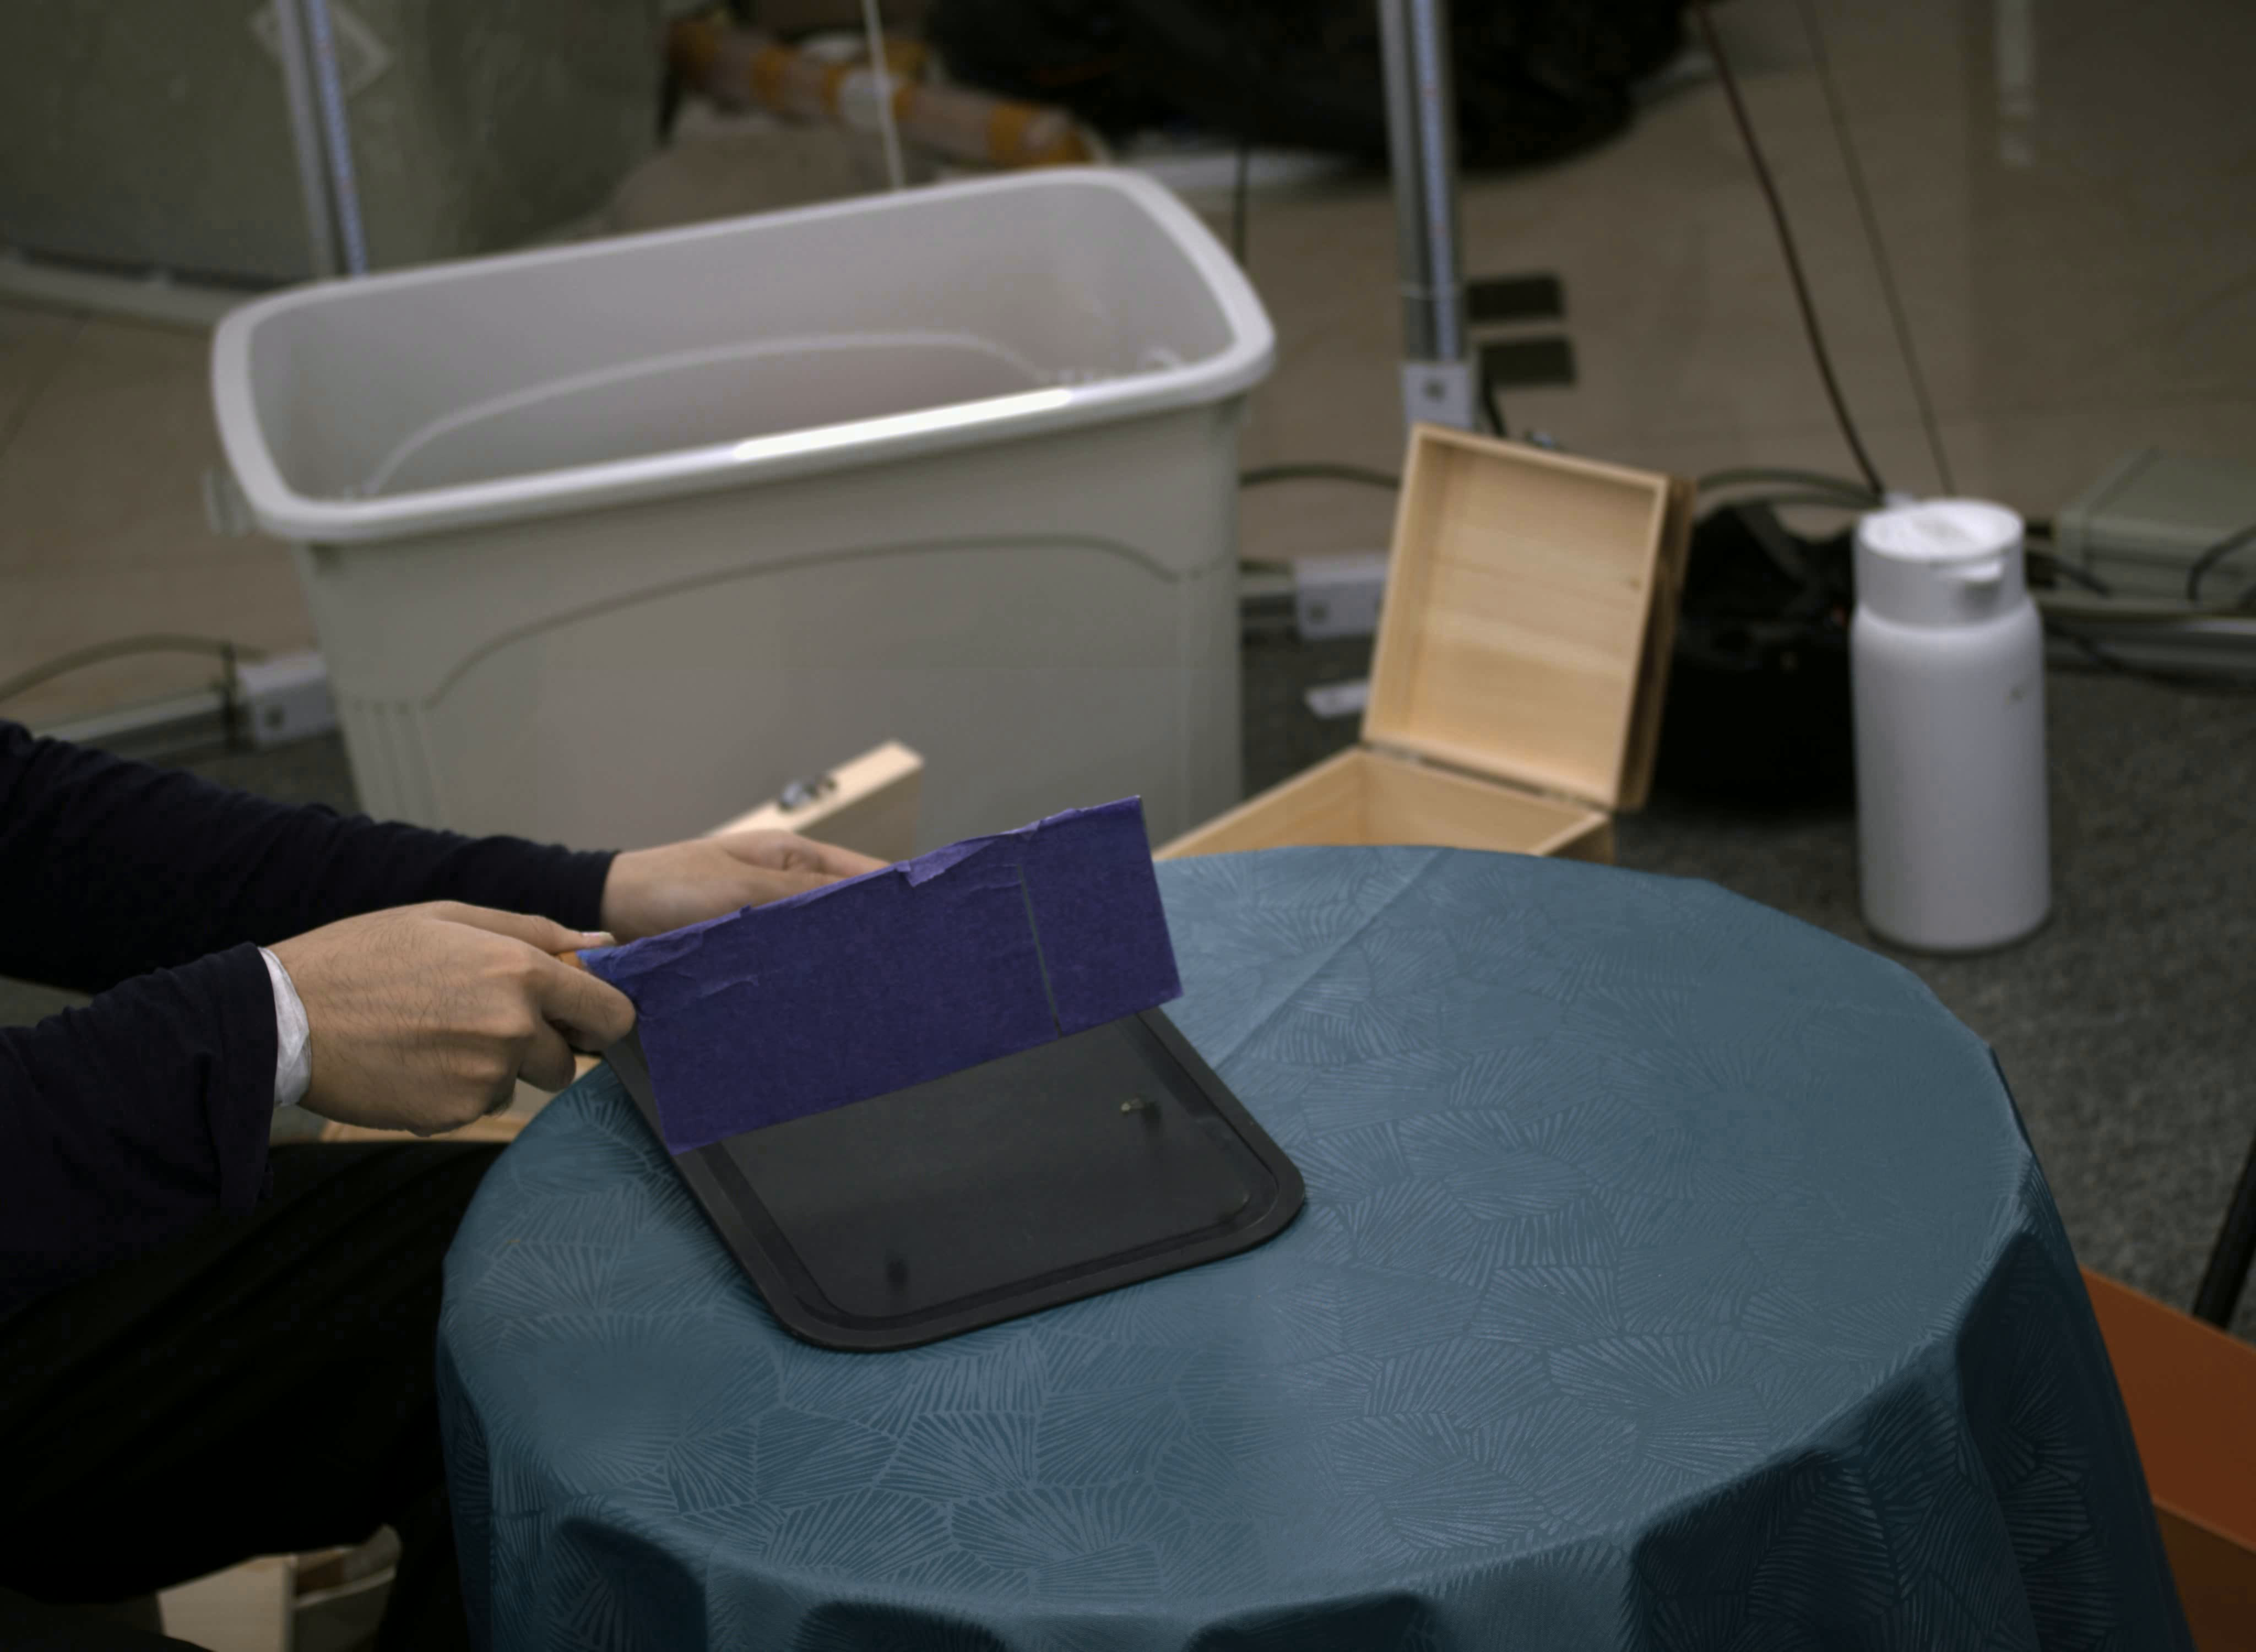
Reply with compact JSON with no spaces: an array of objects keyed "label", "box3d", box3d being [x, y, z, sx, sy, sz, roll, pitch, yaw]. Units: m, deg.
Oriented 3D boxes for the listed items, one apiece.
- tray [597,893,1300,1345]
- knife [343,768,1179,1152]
[{"label":"tray","box3d":[-0.079,0.103,2.209,0.210,0.010,0.321,-14,31,-17]},{"label":"knife","box3d":[-0.131,0.069,2.115,0.314,0.105,0.032,-17,25,-10]}]
